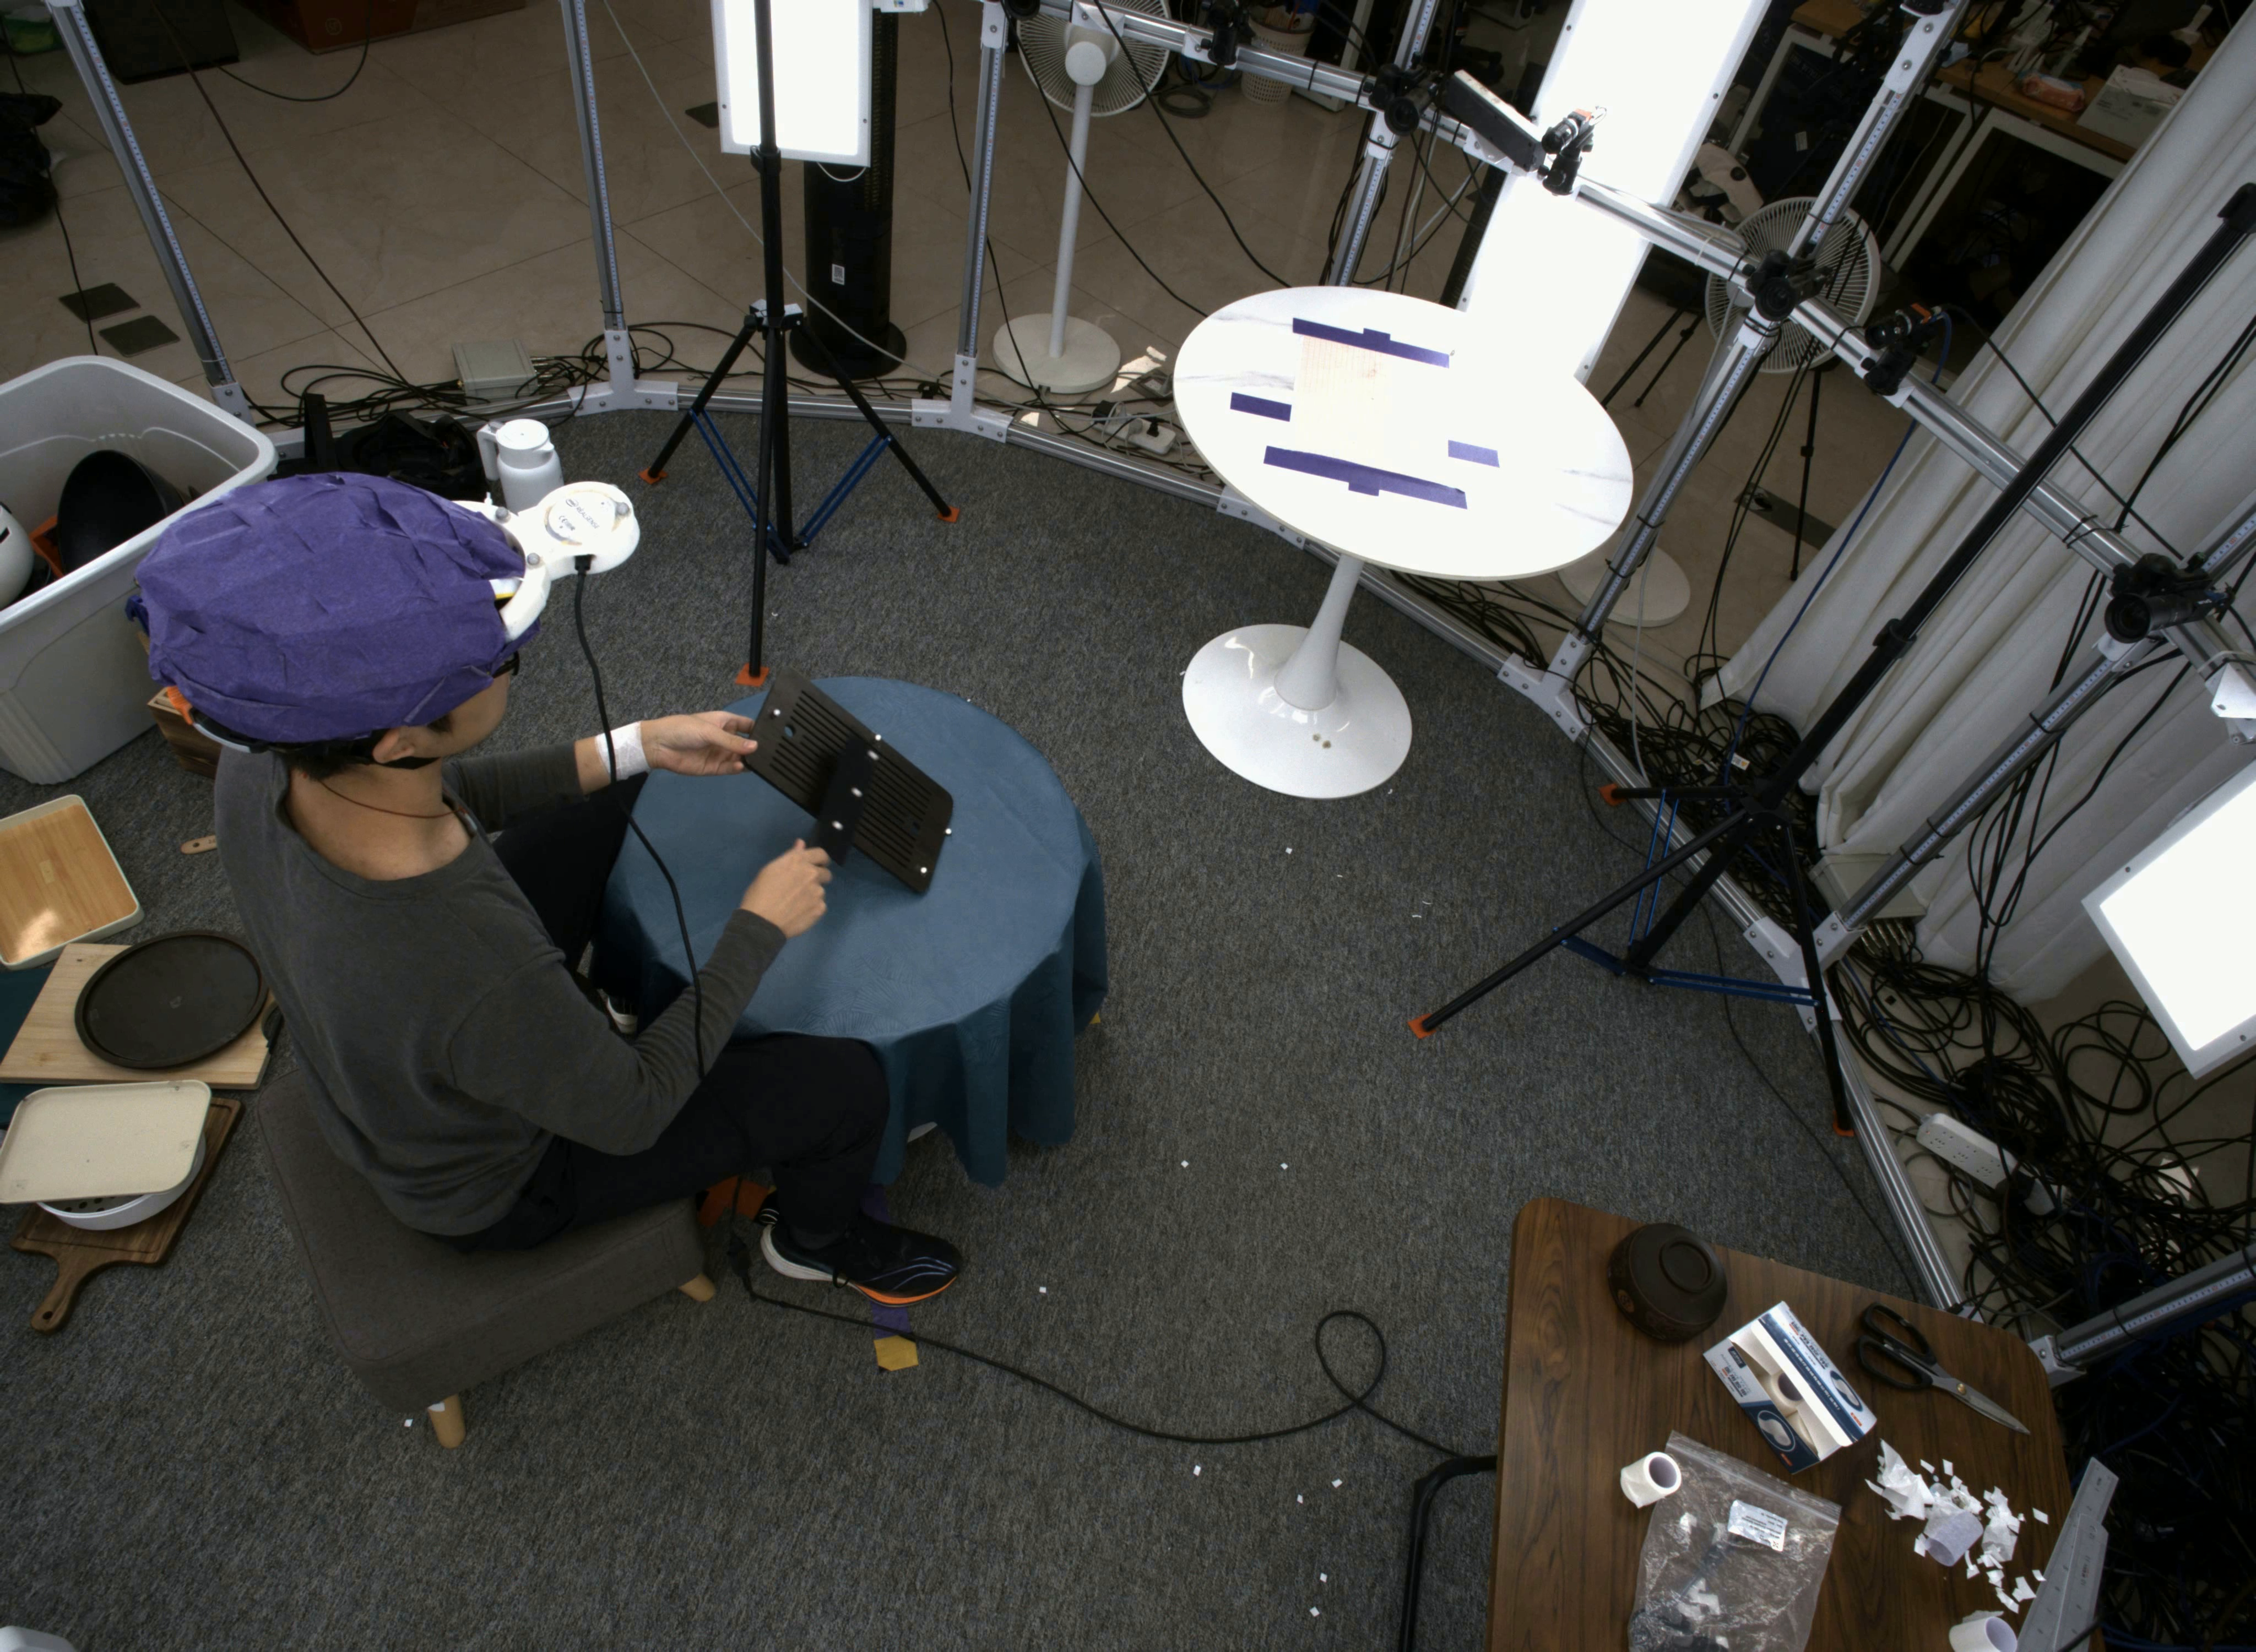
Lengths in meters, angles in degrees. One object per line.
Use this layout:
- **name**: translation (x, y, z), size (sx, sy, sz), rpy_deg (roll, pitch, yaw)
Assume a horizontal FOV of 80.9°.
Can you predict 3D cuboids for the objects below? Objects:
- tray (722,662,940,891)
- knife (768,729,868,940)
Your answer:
- **tray**: translation (-0.374, -0.060, 1.665), size (0.316, 0.018, 0.168), rpy_deg (40, 44, -34)
- **knife**: translation (-0.375, 0.009, 1.581), size (0.020, 0.084, 0.298), rpy_deg (-10, 45, 27)
